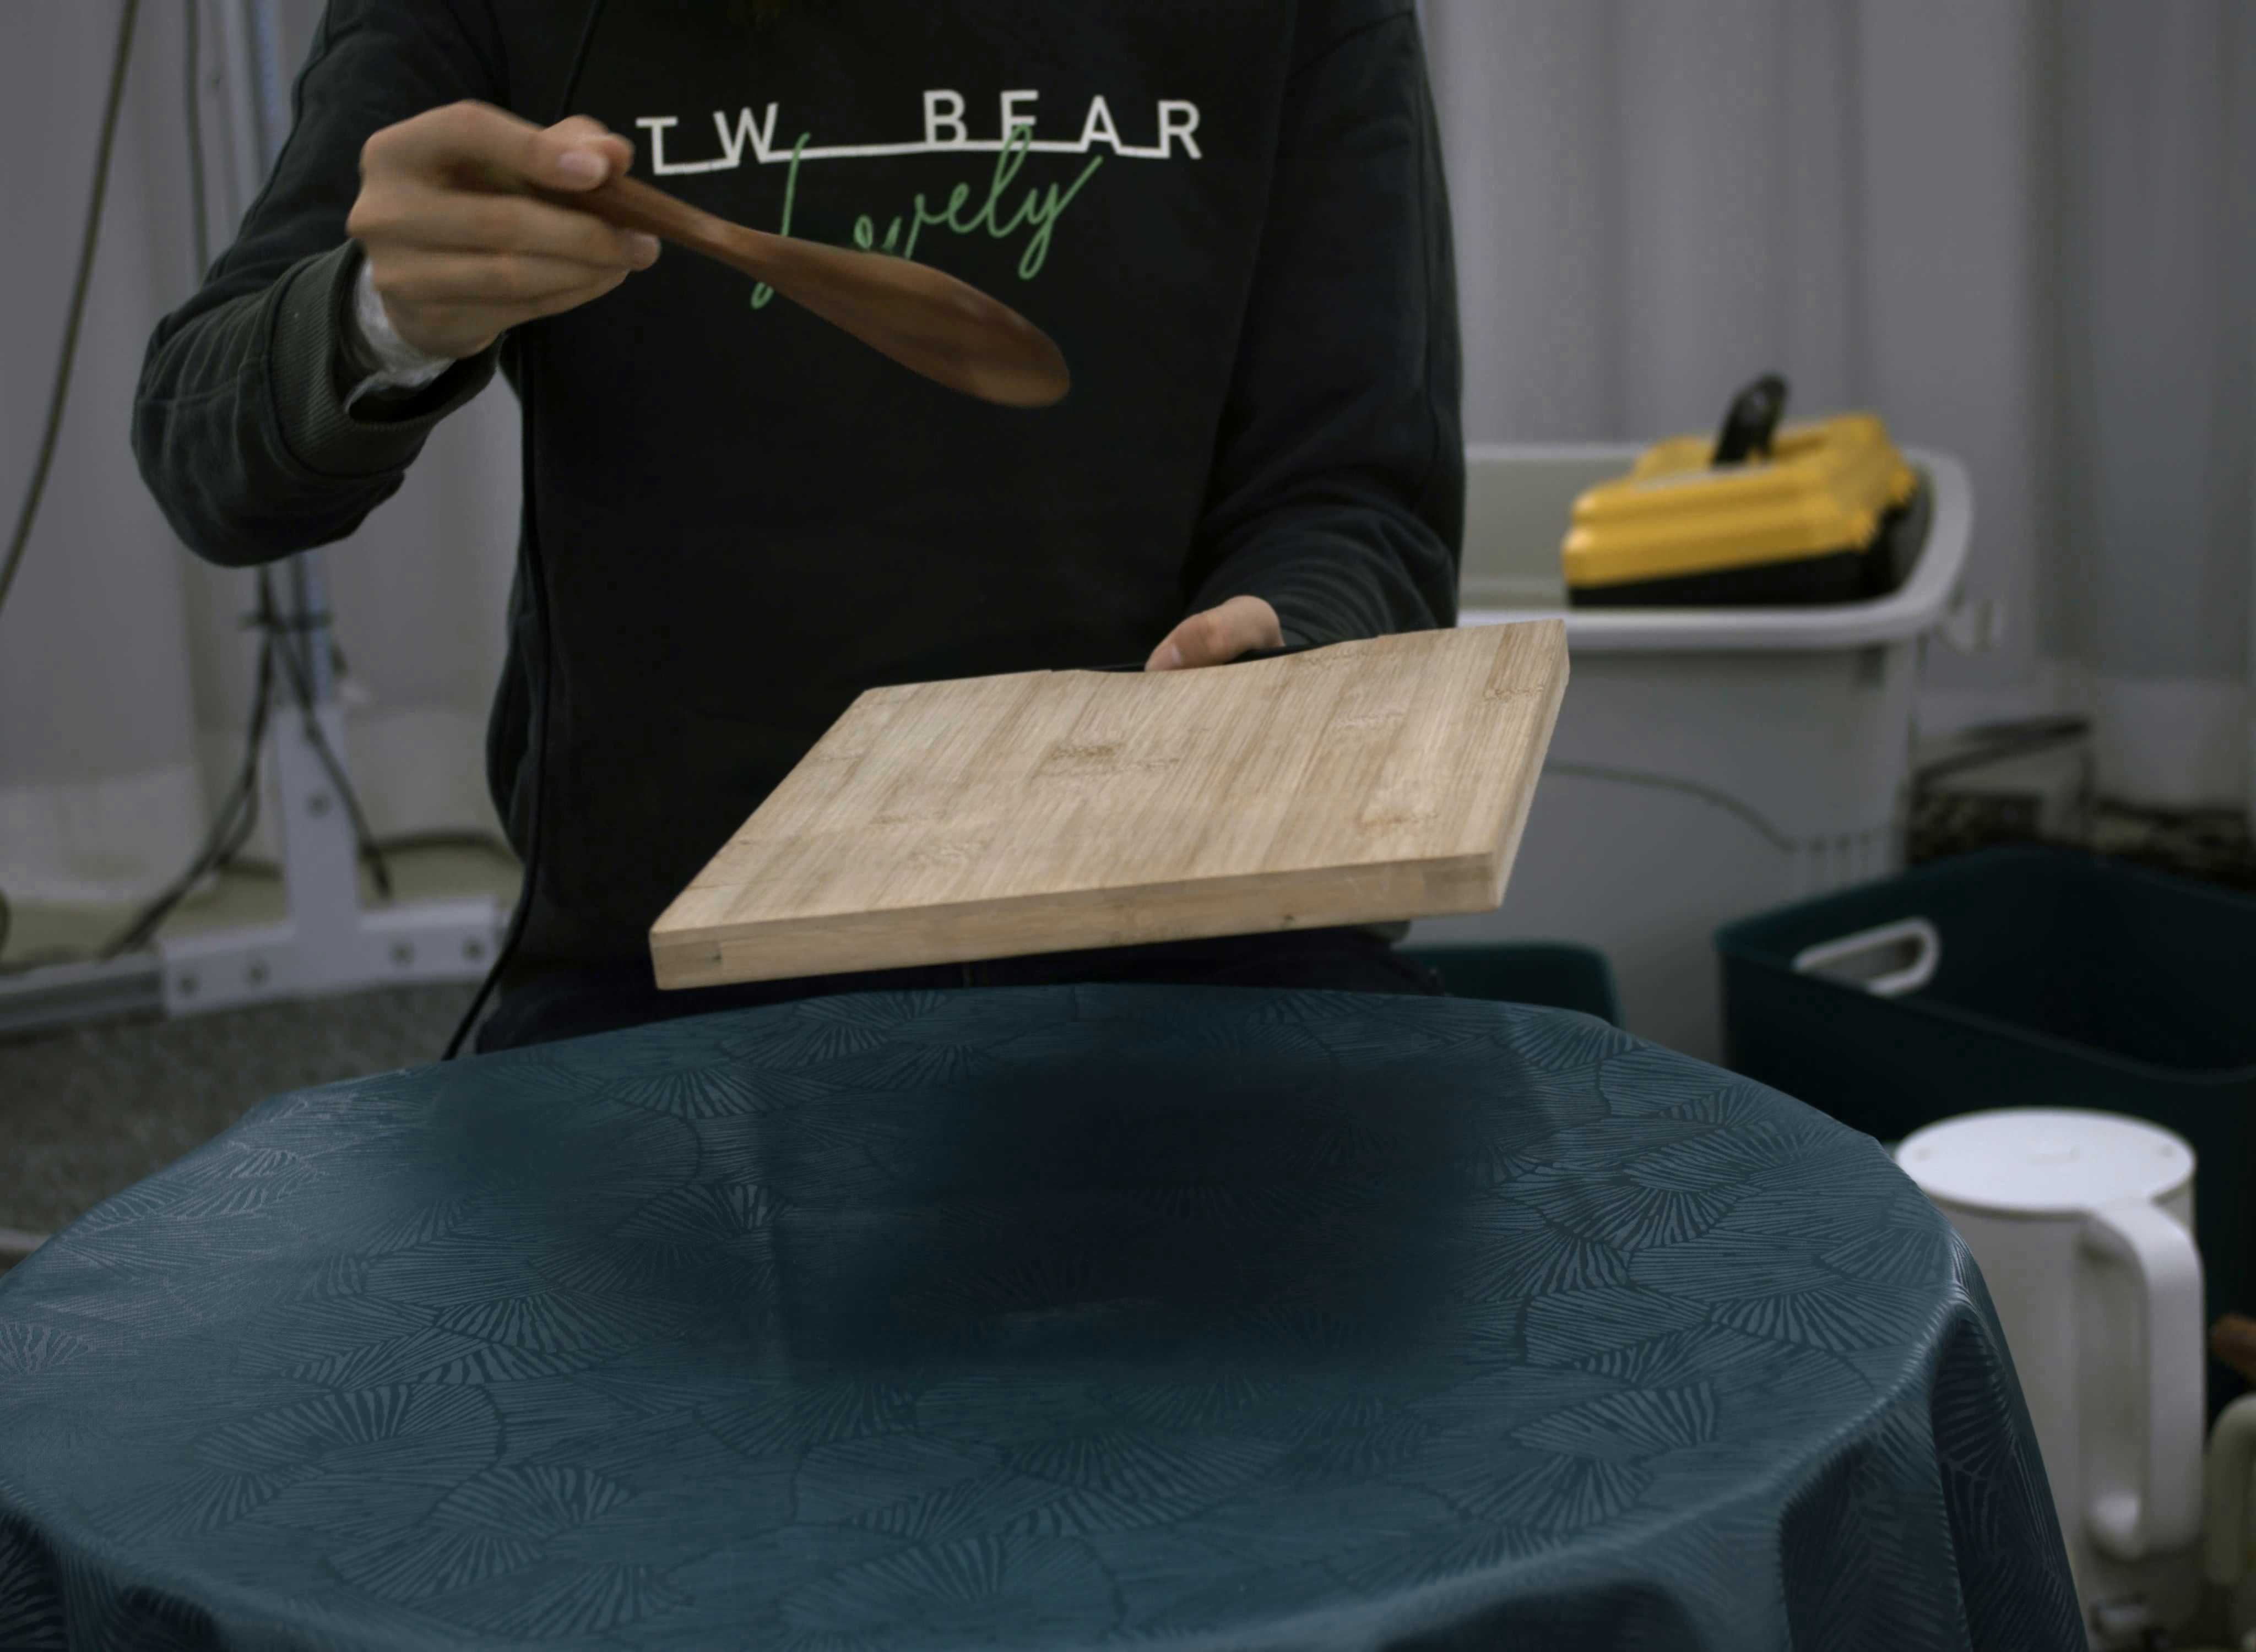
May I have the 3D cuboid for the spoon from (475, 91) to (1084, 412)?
[{"bbox_3d":[-0.107,-0.171,1.638,0.217,0.017,0.075,27,-8,21],"label":"spoon"}]

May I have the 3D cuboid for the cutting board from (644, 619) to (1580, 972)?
[{"bbox_3d":[0.007,-0.012,1.685,0.250,0.023,0.350,-5,12,8],"label":"cutting board"}]
